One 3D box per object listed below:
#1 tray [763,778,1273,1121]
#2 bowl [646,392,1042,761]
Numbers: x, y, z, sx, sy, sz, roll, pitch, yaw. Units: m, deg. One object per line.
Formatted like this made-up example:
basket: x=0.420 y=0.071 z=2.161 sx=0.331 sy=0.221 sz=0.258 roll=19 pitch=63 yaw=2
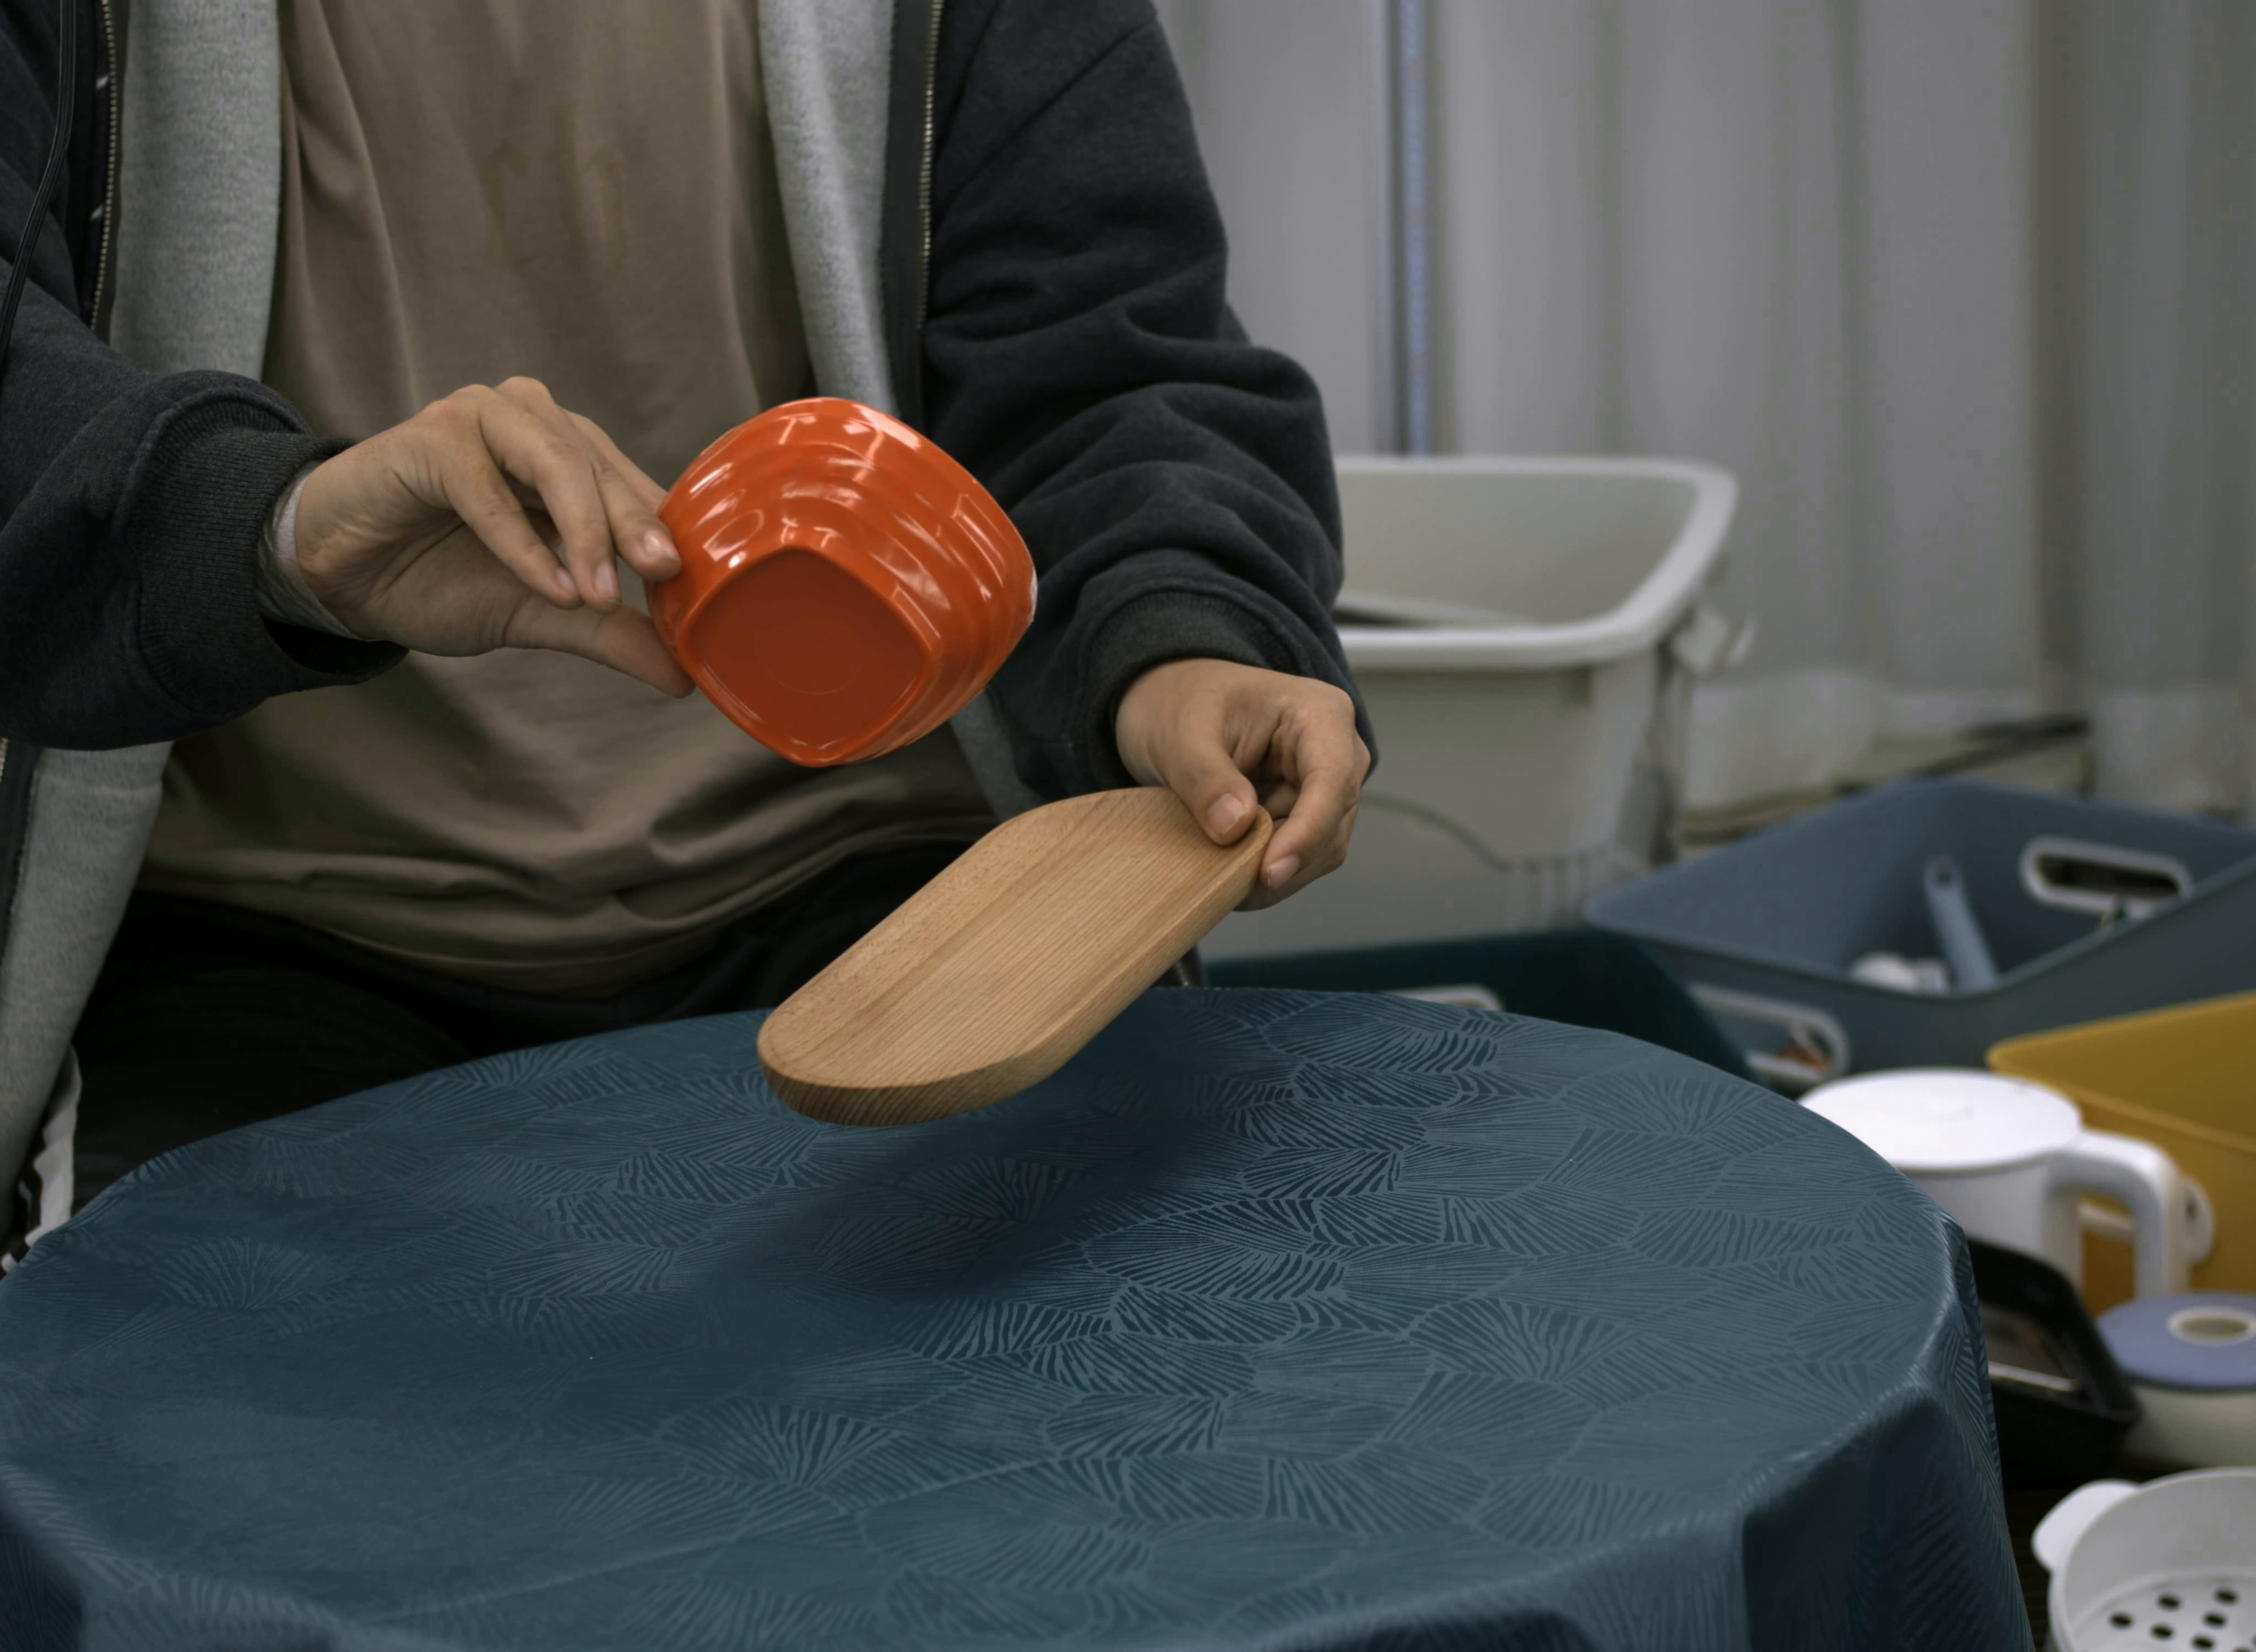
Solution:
tray: x=-0.031 y=0.036 z=1.704 sx=0.102 sy=0.020 sz=0.232 roll=3 pitch=23 yaw=27
bowl: x=-0.088 y=-0.063 z=1.603 sx=0.119 sy=0.117 sz=0.052 roll=1 pitch=34 yaw=12
